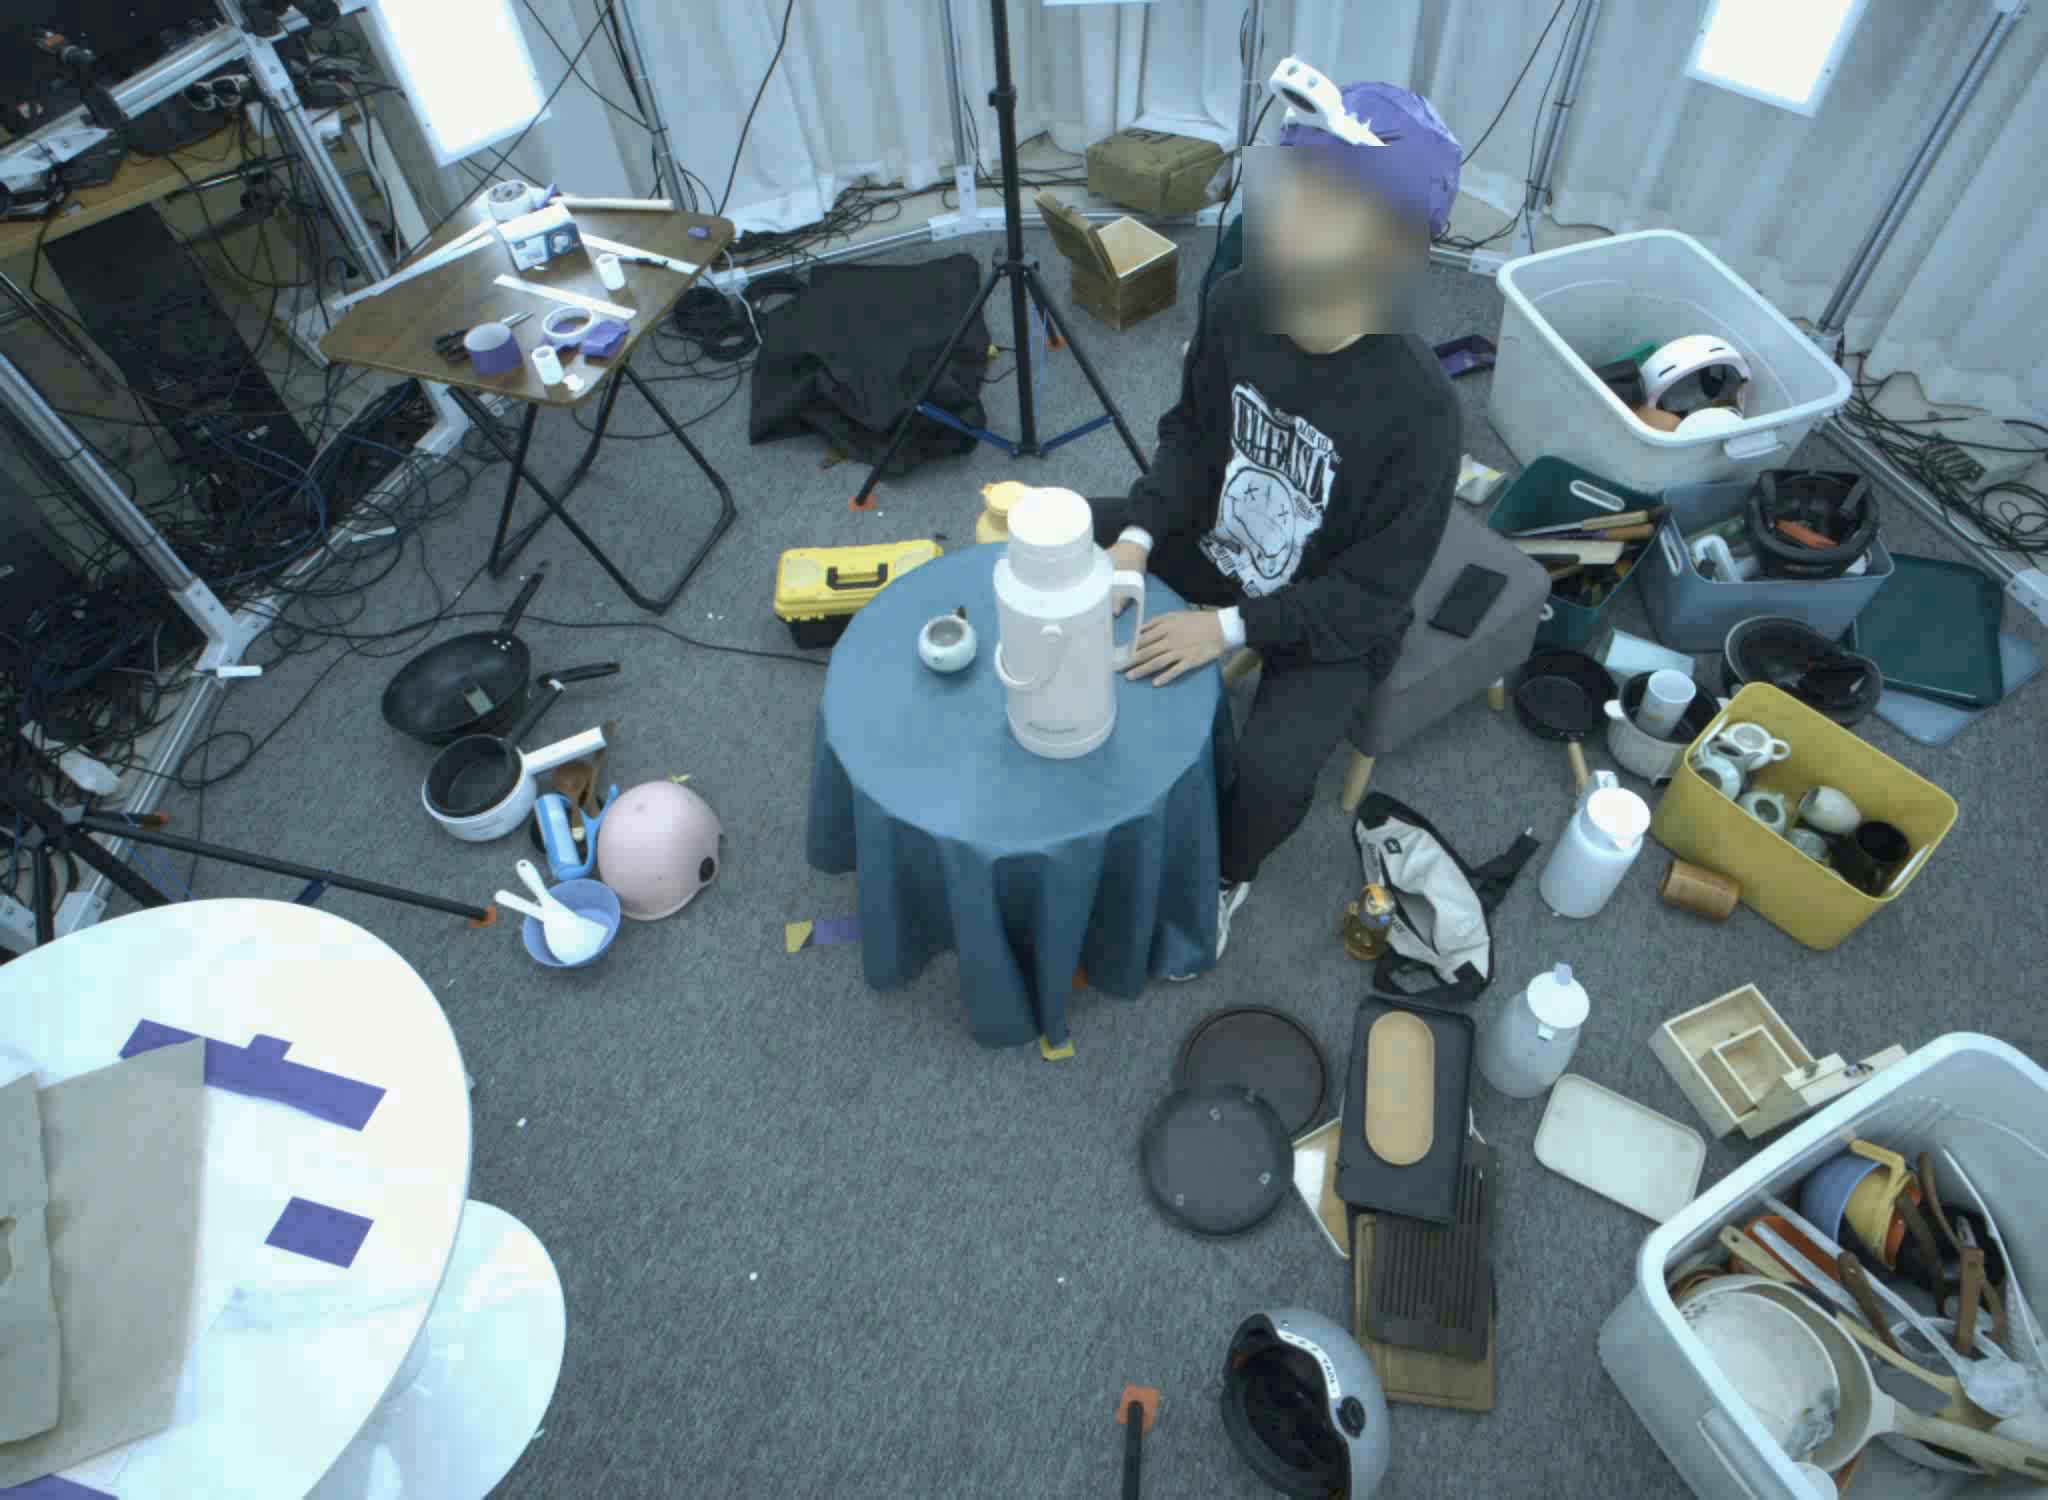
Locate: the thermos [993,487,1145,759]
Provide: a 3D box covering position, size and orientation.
[{"bbox_3d":[0.058,-0.166,1.655,0.207,0.411,0.173,-1,53,4],"label":"thermos"}]

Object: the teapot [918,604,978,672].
[{"bbox_3d":[-0.114,-0.169,1.871,0.091,0.060,0.127,7,57,12],"label":"teapot"}]
